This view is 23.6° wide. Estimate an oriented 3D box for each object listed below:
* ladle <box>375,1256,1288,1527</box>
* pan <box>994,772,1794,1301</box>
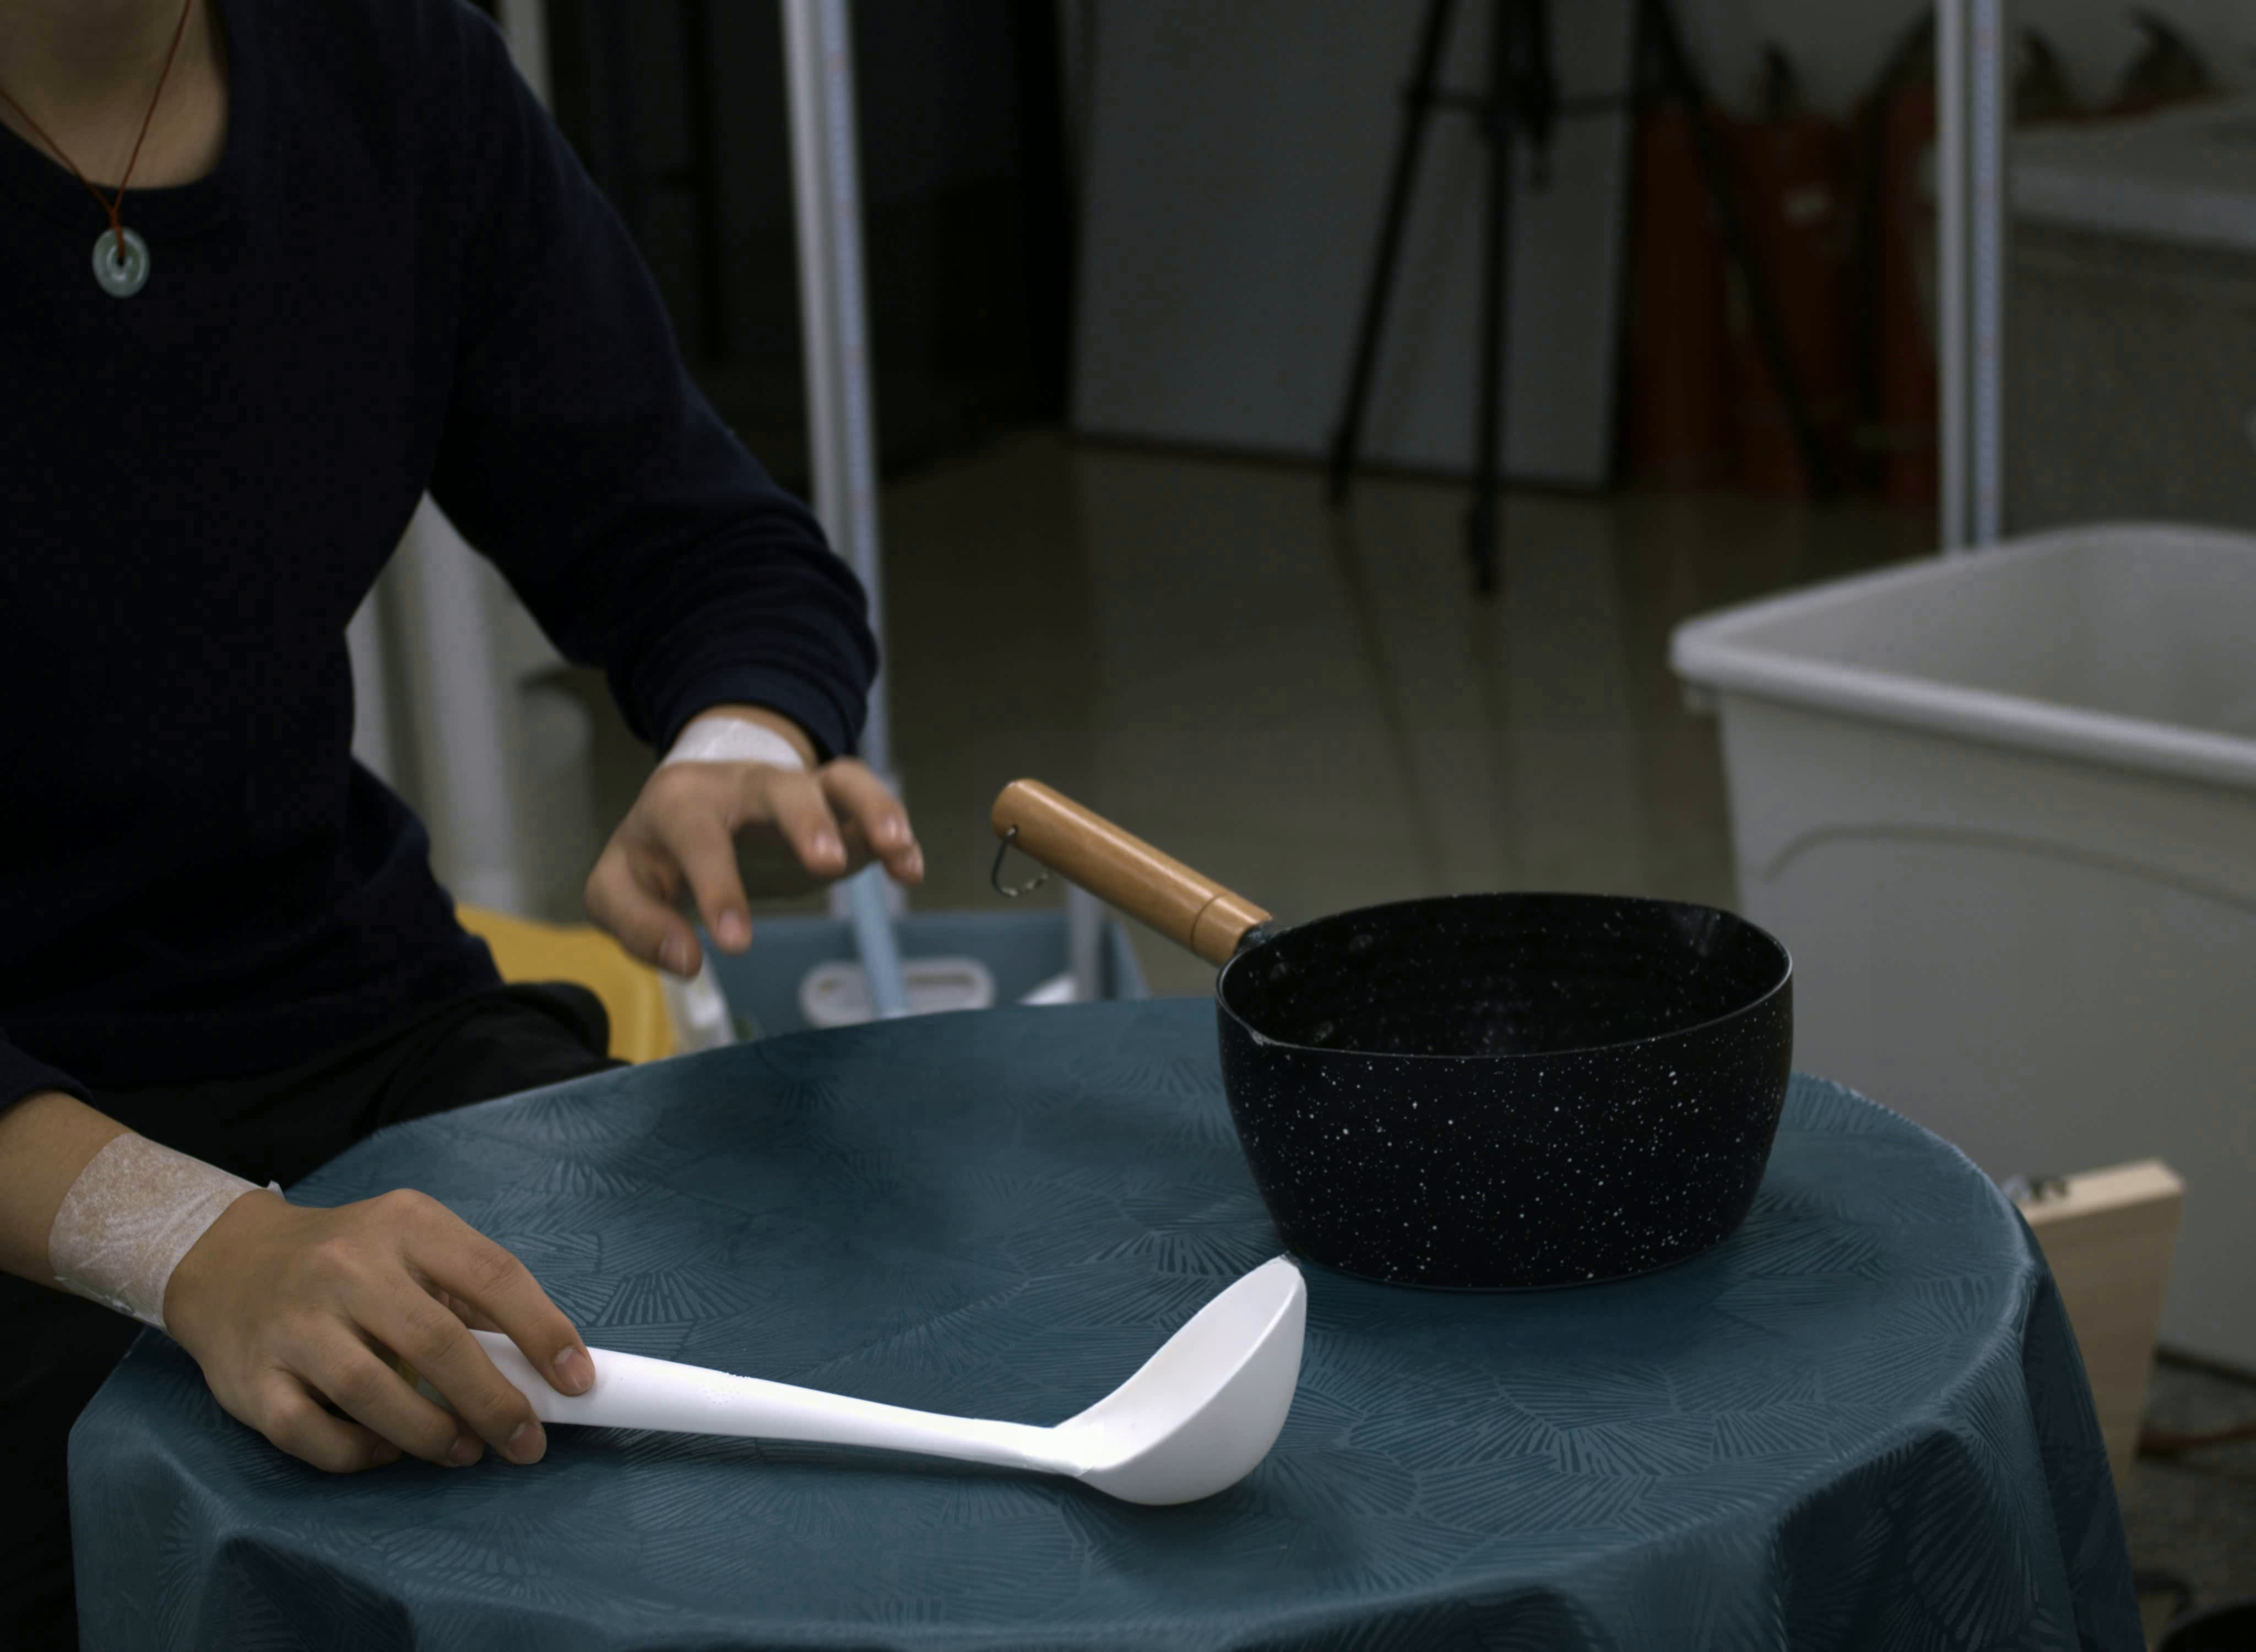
[{"bbox_3d":[-0.087,0.157,1.529,0.293,0.070,0.090,2,37,25],"label":"ladle"},{"bbox_3d":[0.068,0.062,1.763,0.203,0.109,0.346,-16,19,-37],"label":"pan"}]
